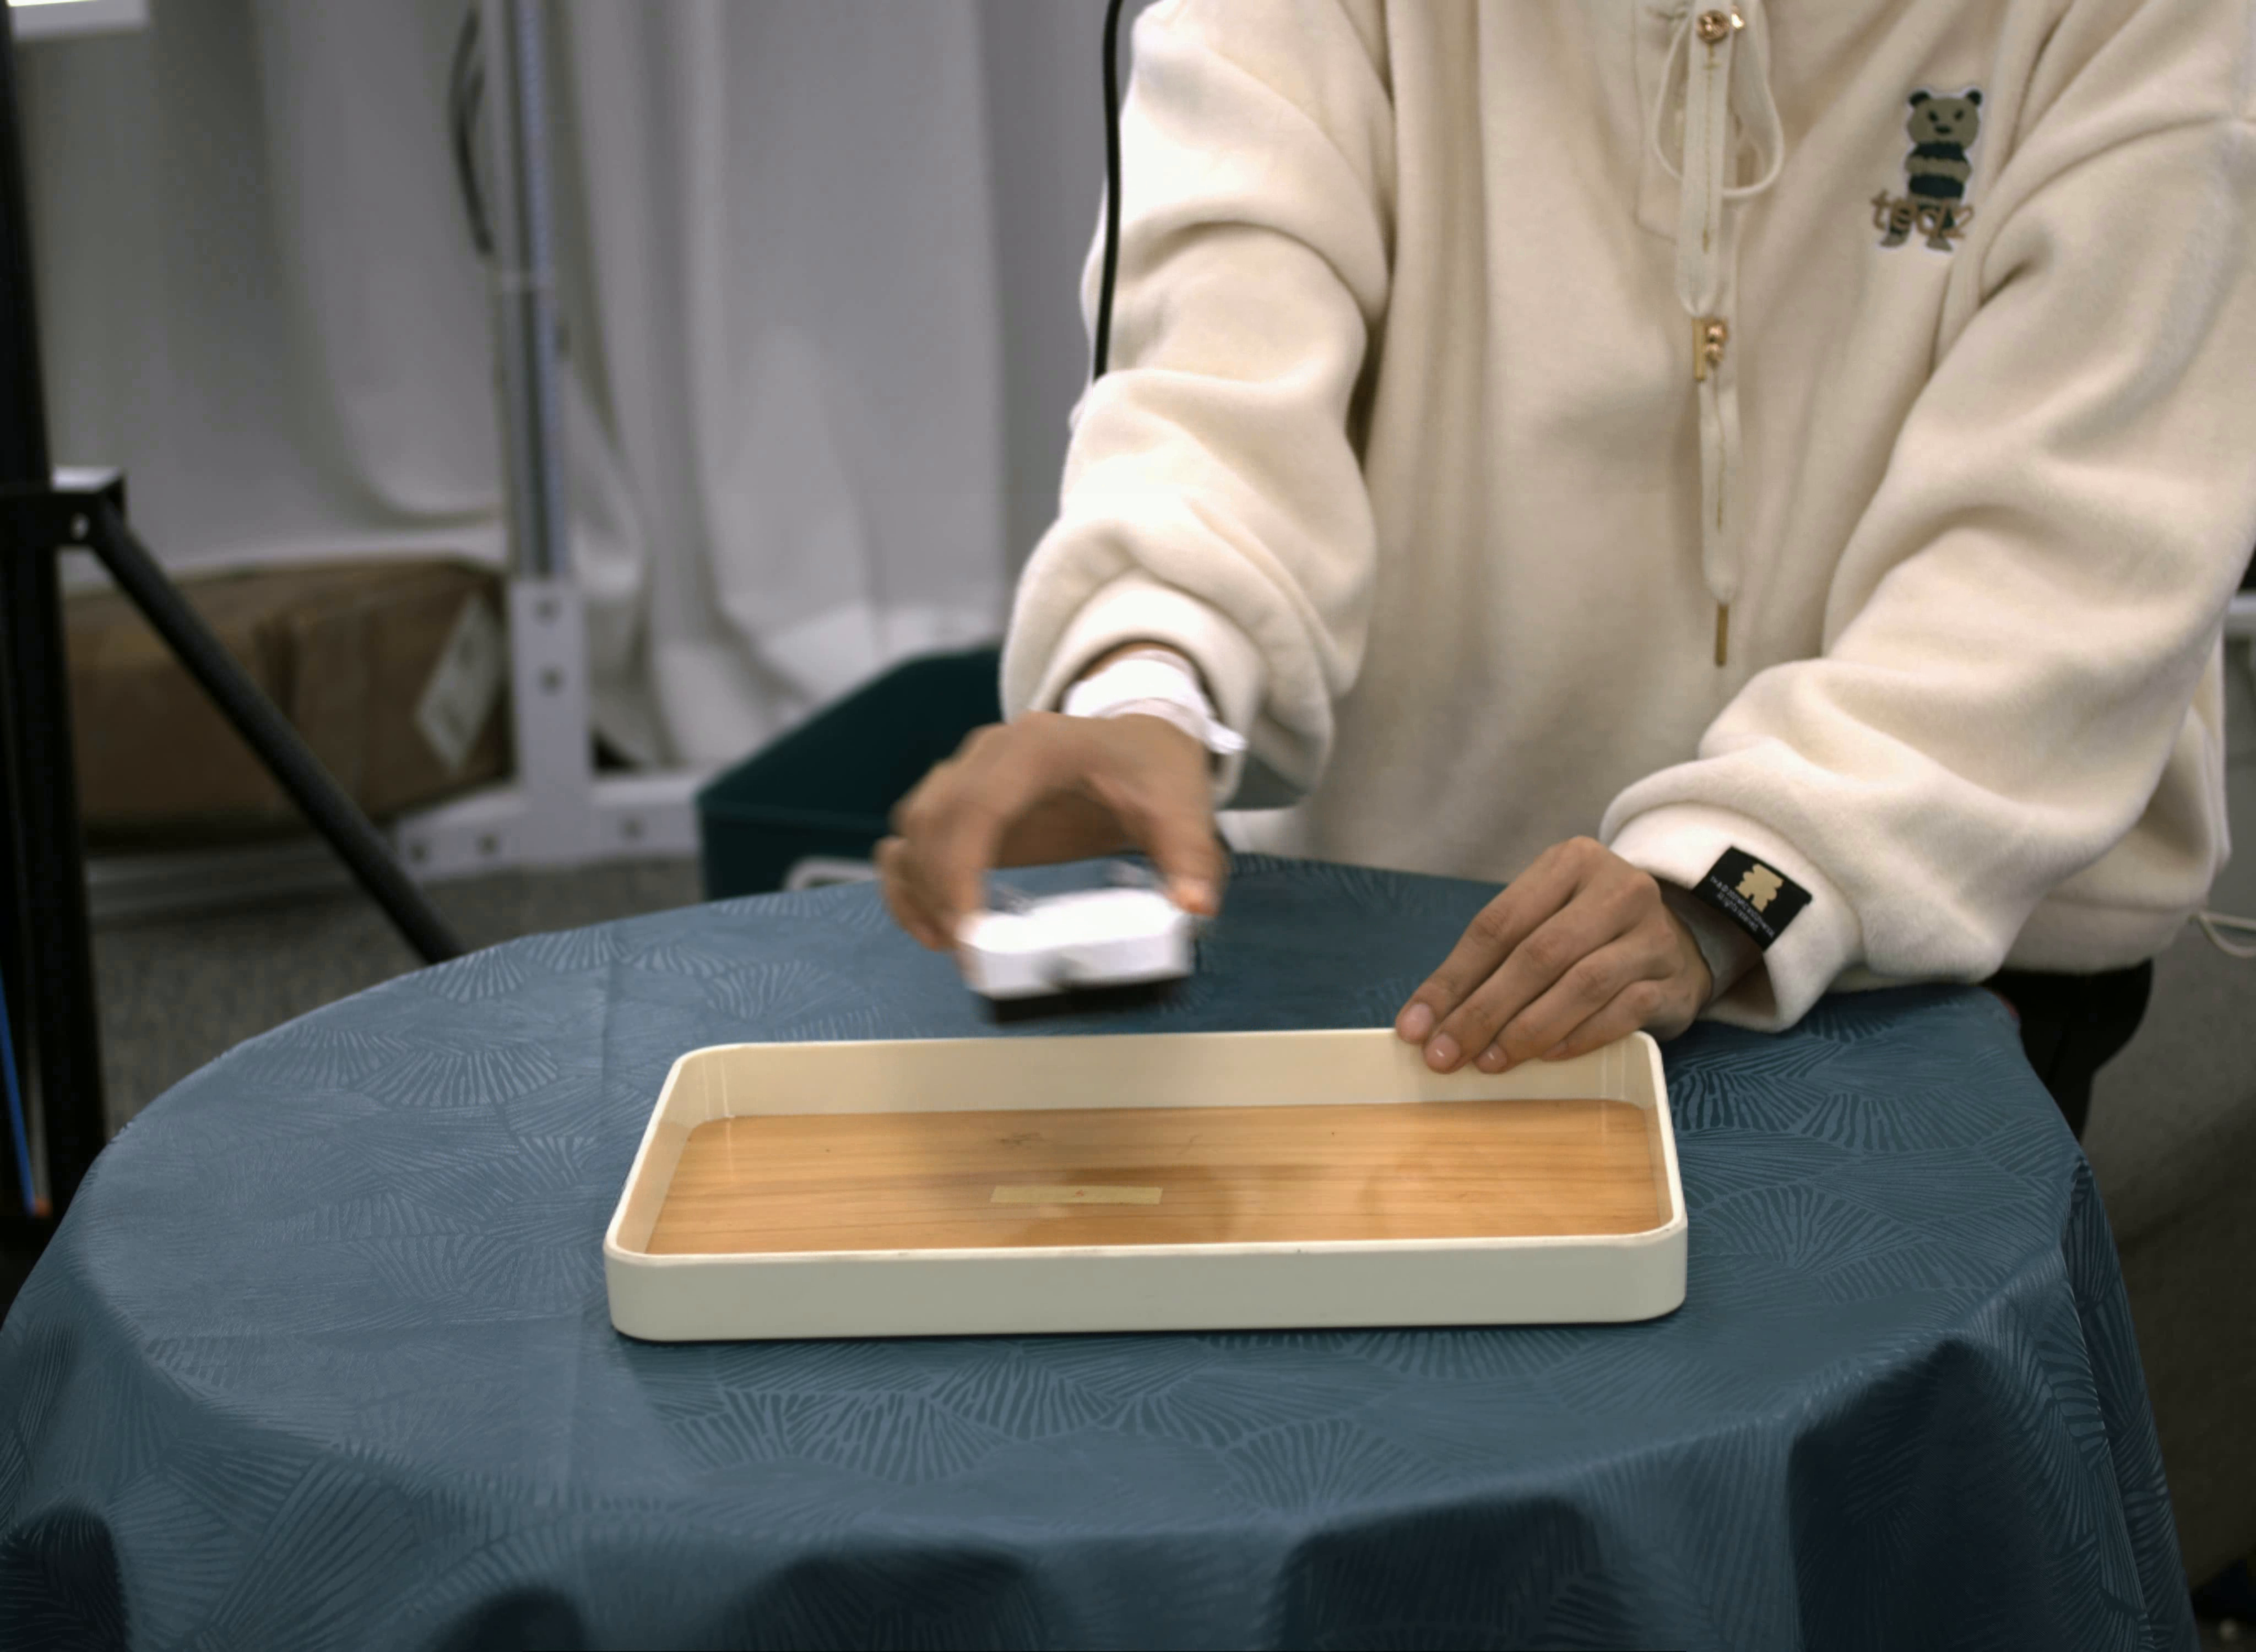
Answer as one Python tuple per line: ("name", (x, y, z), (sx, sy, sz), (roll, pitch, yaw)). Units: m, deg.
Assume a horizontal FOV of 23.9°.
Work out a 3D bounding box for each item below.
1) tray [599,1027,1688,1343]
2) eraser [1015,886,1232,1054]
("tray", (0.007, 0.102, 1.528), (0.300, 0.027, 0.192), (-1, 16, 5))
("eraser", (0.001, 0.040, 1.538), (0.063, 0.034, 0.131), (-8, 4, 1))
